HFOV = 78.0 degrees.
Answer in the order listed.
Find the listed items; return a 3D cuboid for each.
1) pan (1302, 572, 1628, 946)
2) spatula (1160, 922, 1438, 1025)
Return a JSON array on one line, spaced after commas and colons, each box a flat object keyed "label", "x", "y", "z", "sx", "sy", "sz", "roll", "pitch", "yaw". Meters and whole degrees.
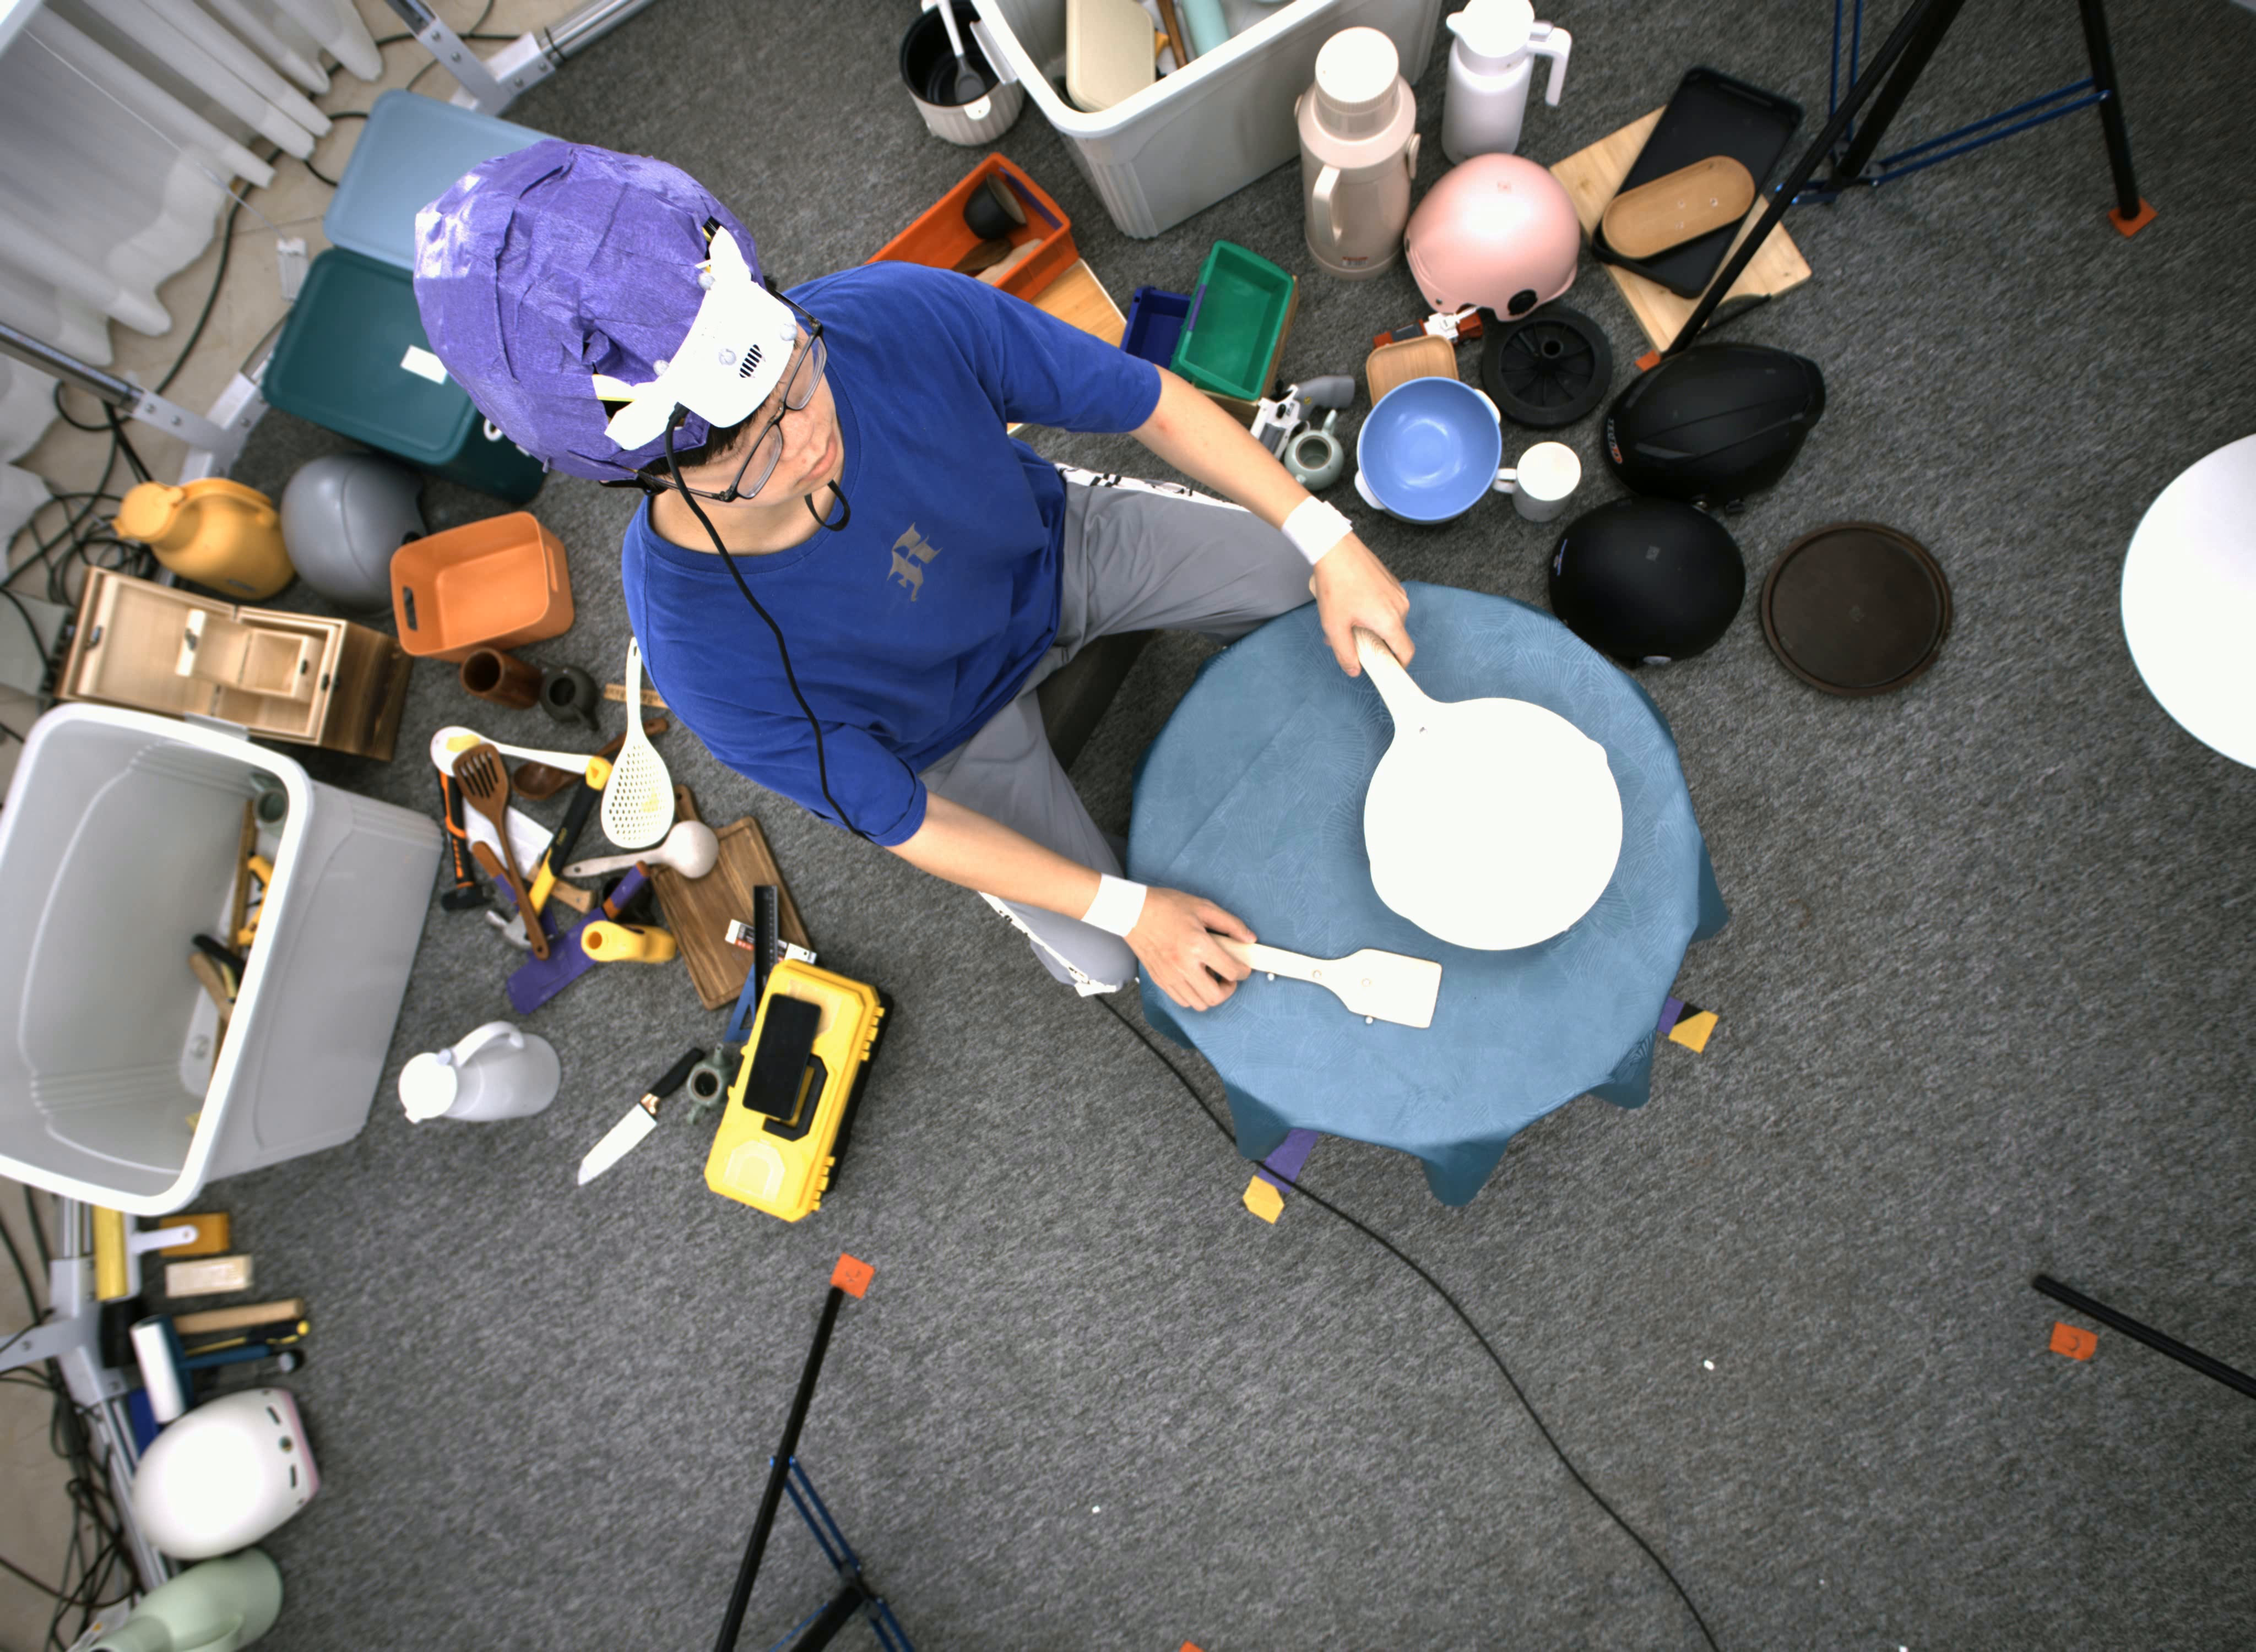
[{"label": "pan", "x": 0.320, "y": -0.080, "z": 1.406, "sx": 0.265, "sy": 0.102, "sz": 0.432, "roll": -36, "pitch": 81, "yaw": 8}, {"label": "spatula", "x": 0.176, "y": 0.145, "z": 1.463, "sx": 0.293, "sy": 0.010, "sz": 0.072, "roll": 12, "pitch": 90, "yaw": 8}]
